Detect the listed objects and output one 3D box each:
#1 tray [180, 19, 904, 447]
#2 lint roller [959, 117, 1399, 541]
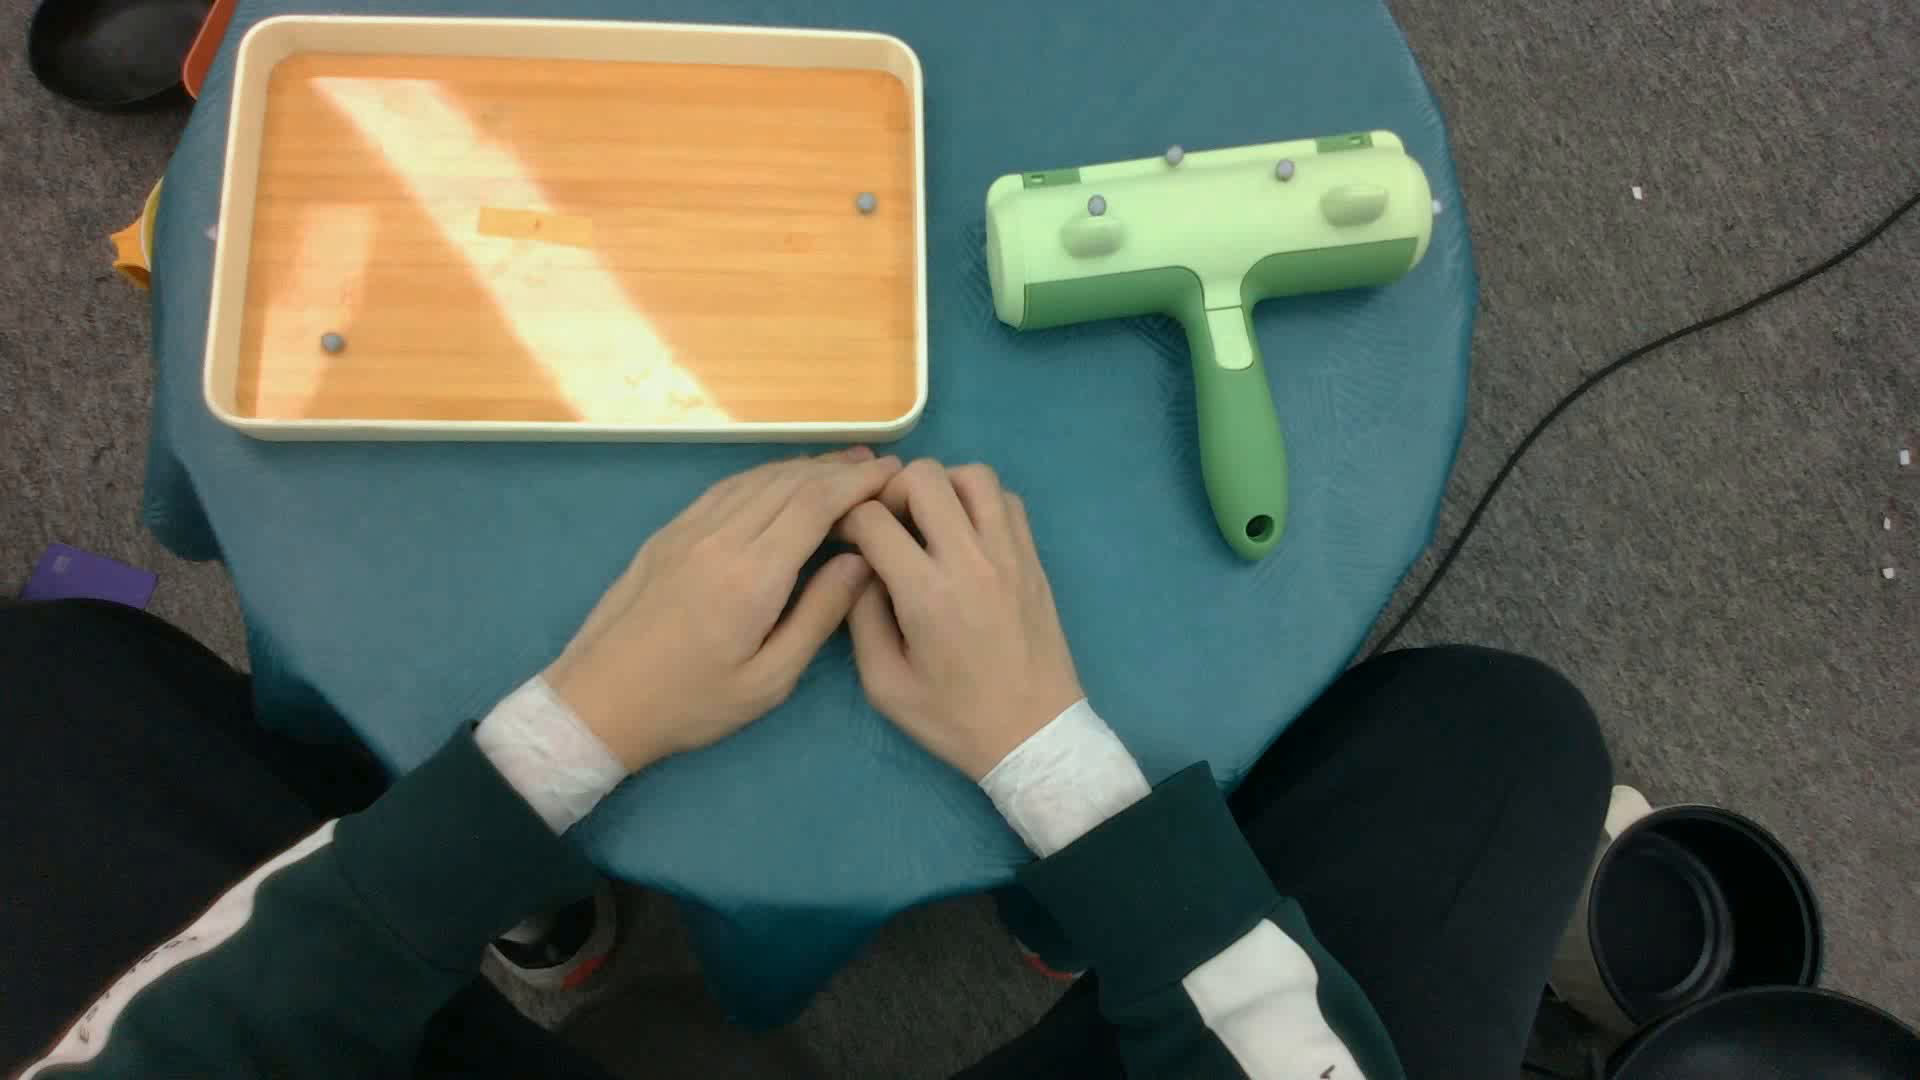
[{"bbox_3d":[-0.178,-0.138,0.611,0.300,0.027,0.192,-2,78,-6],"label":"tray"},{"bbox_3d":[0.110,-0.095,0.605,0.199,0.082,0.183,-9,74,-8],"label":"lint roller"}]
